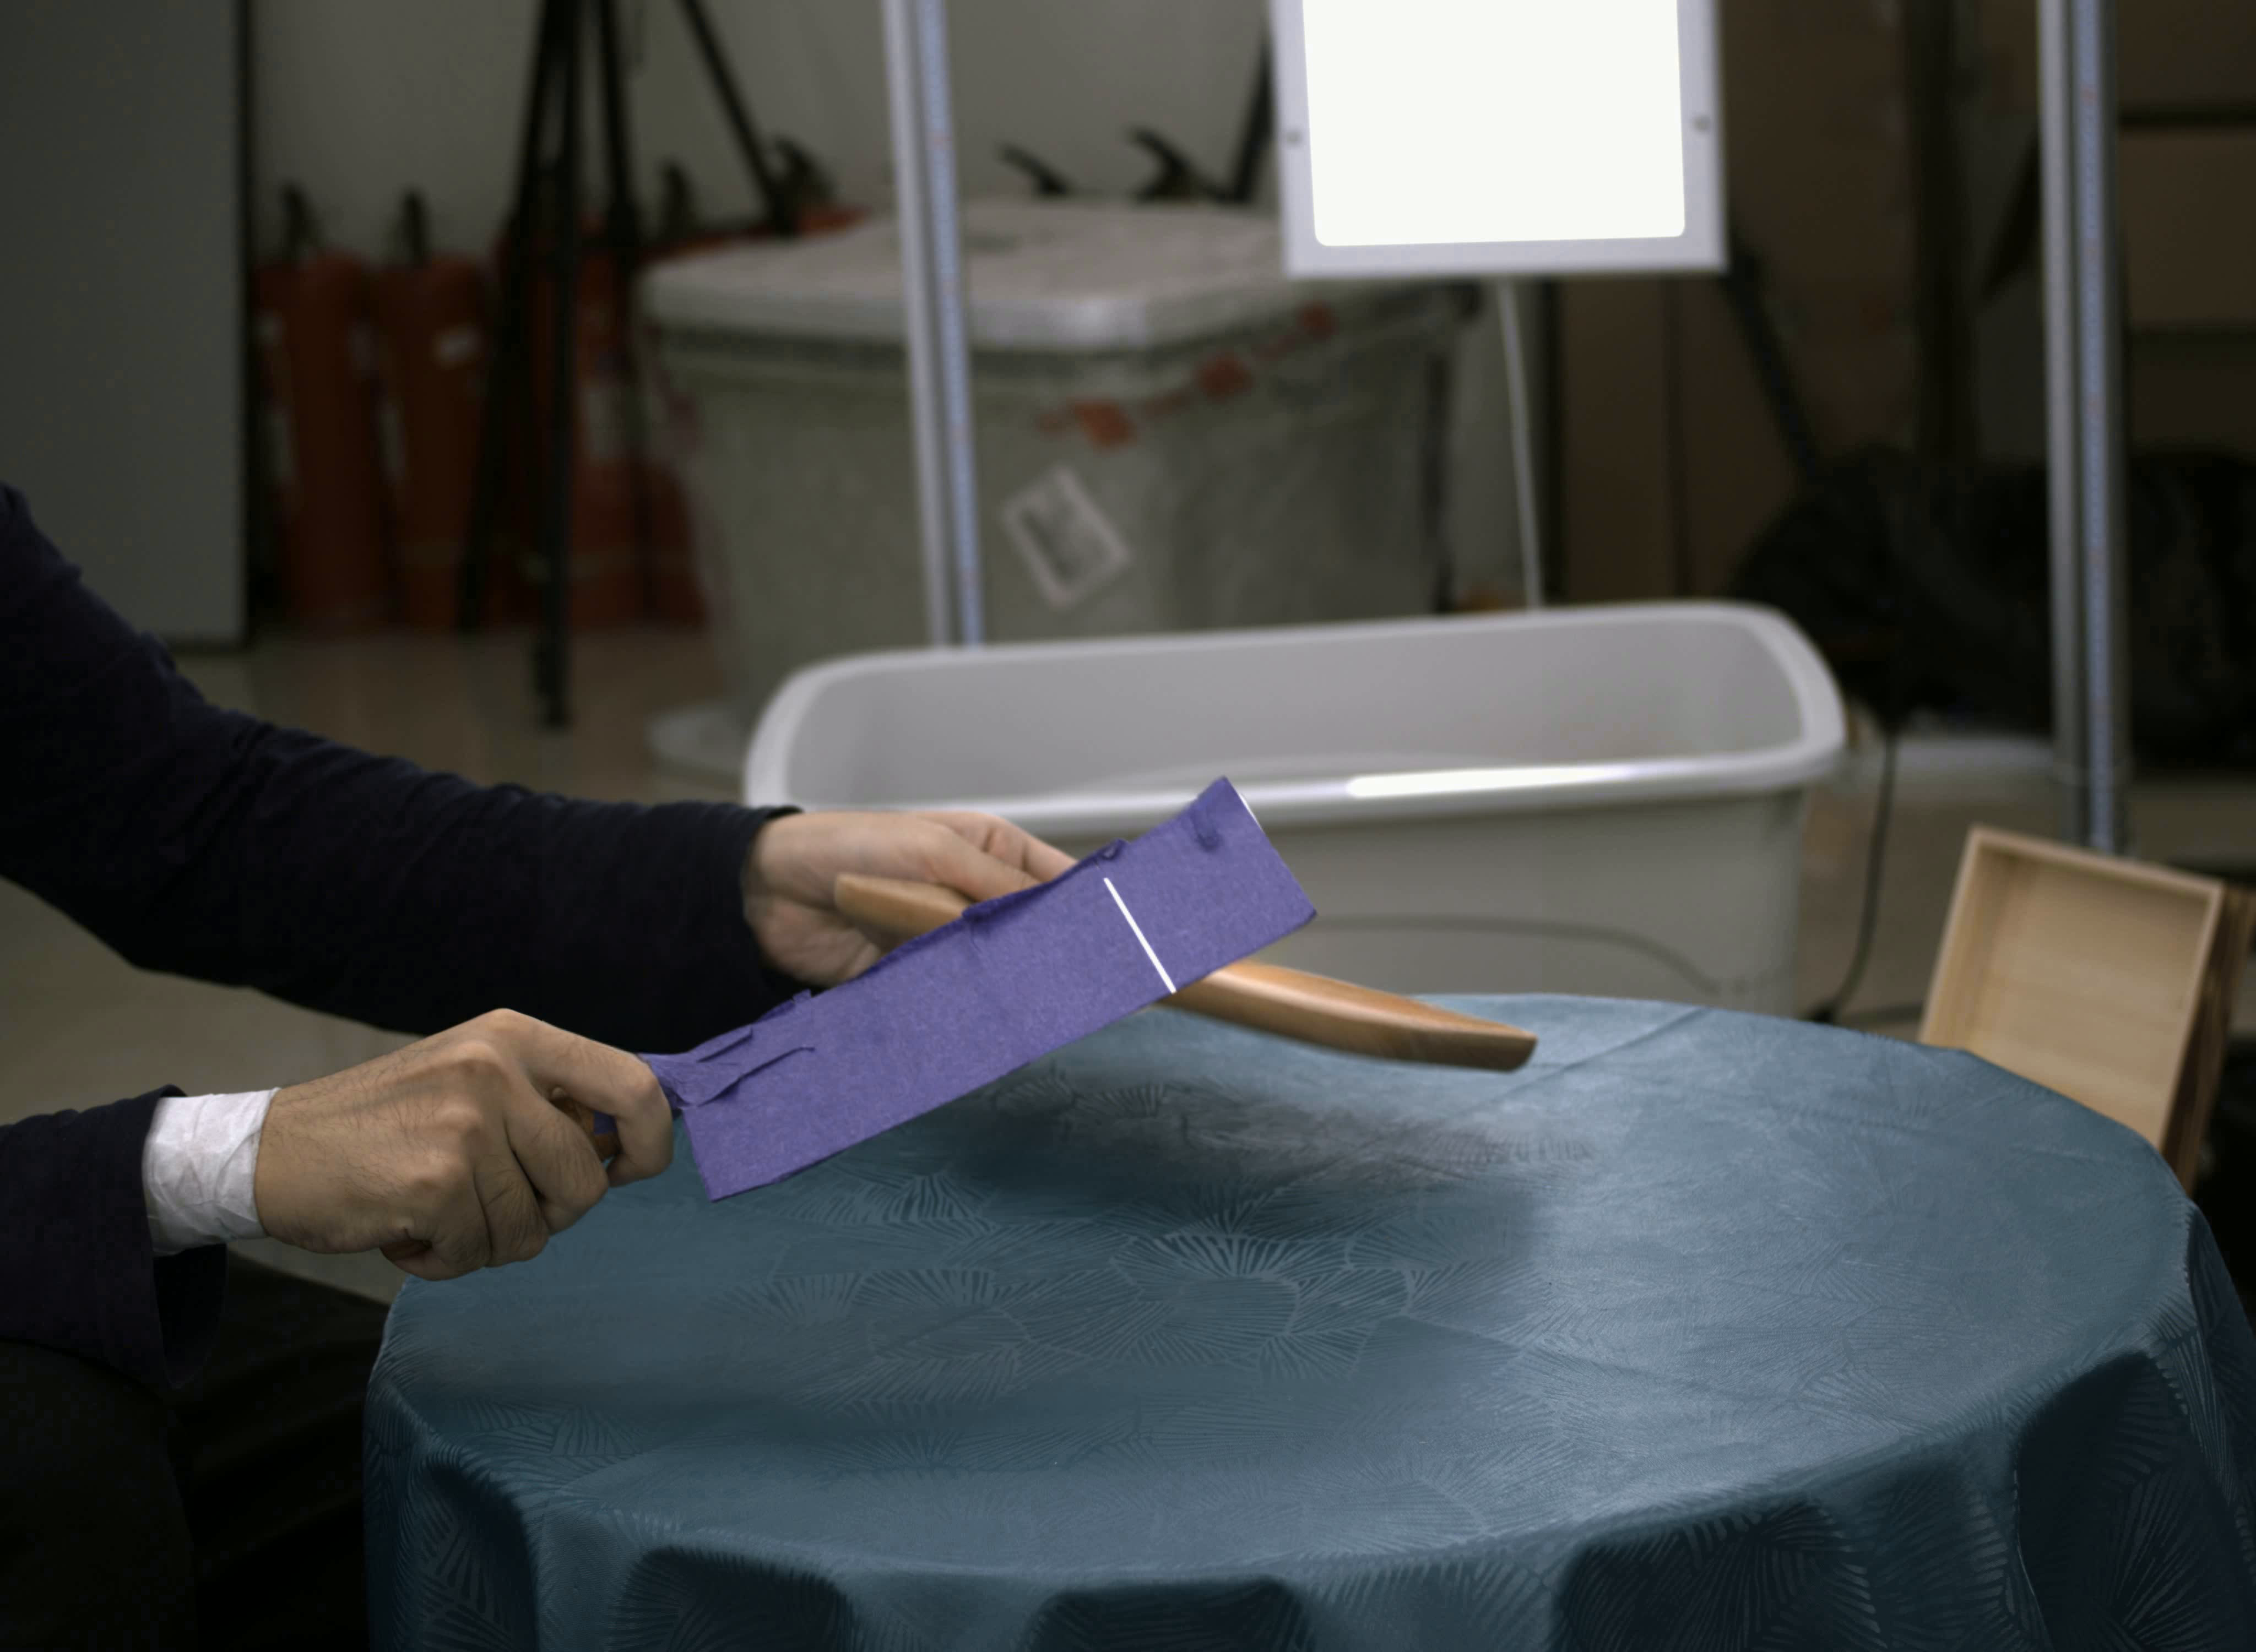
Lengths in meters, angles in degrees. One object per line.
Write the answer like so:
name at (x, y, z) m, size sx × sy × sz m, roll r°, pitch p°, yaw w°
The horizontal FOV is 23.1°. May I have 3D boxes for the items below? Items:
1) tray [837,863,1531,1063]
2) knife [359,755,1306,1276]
tray at (0.017, 0.048, 1.944) m, size 0.256 × 0.023 × 0.127 m, roll 12°, pitch -3°, yaw 41°
knife at (-0.094, 0.070, 1.725) m, size 0.315 × 0.032 × 0.104 m, roll -29°, pitch 29°, yaw 2°
